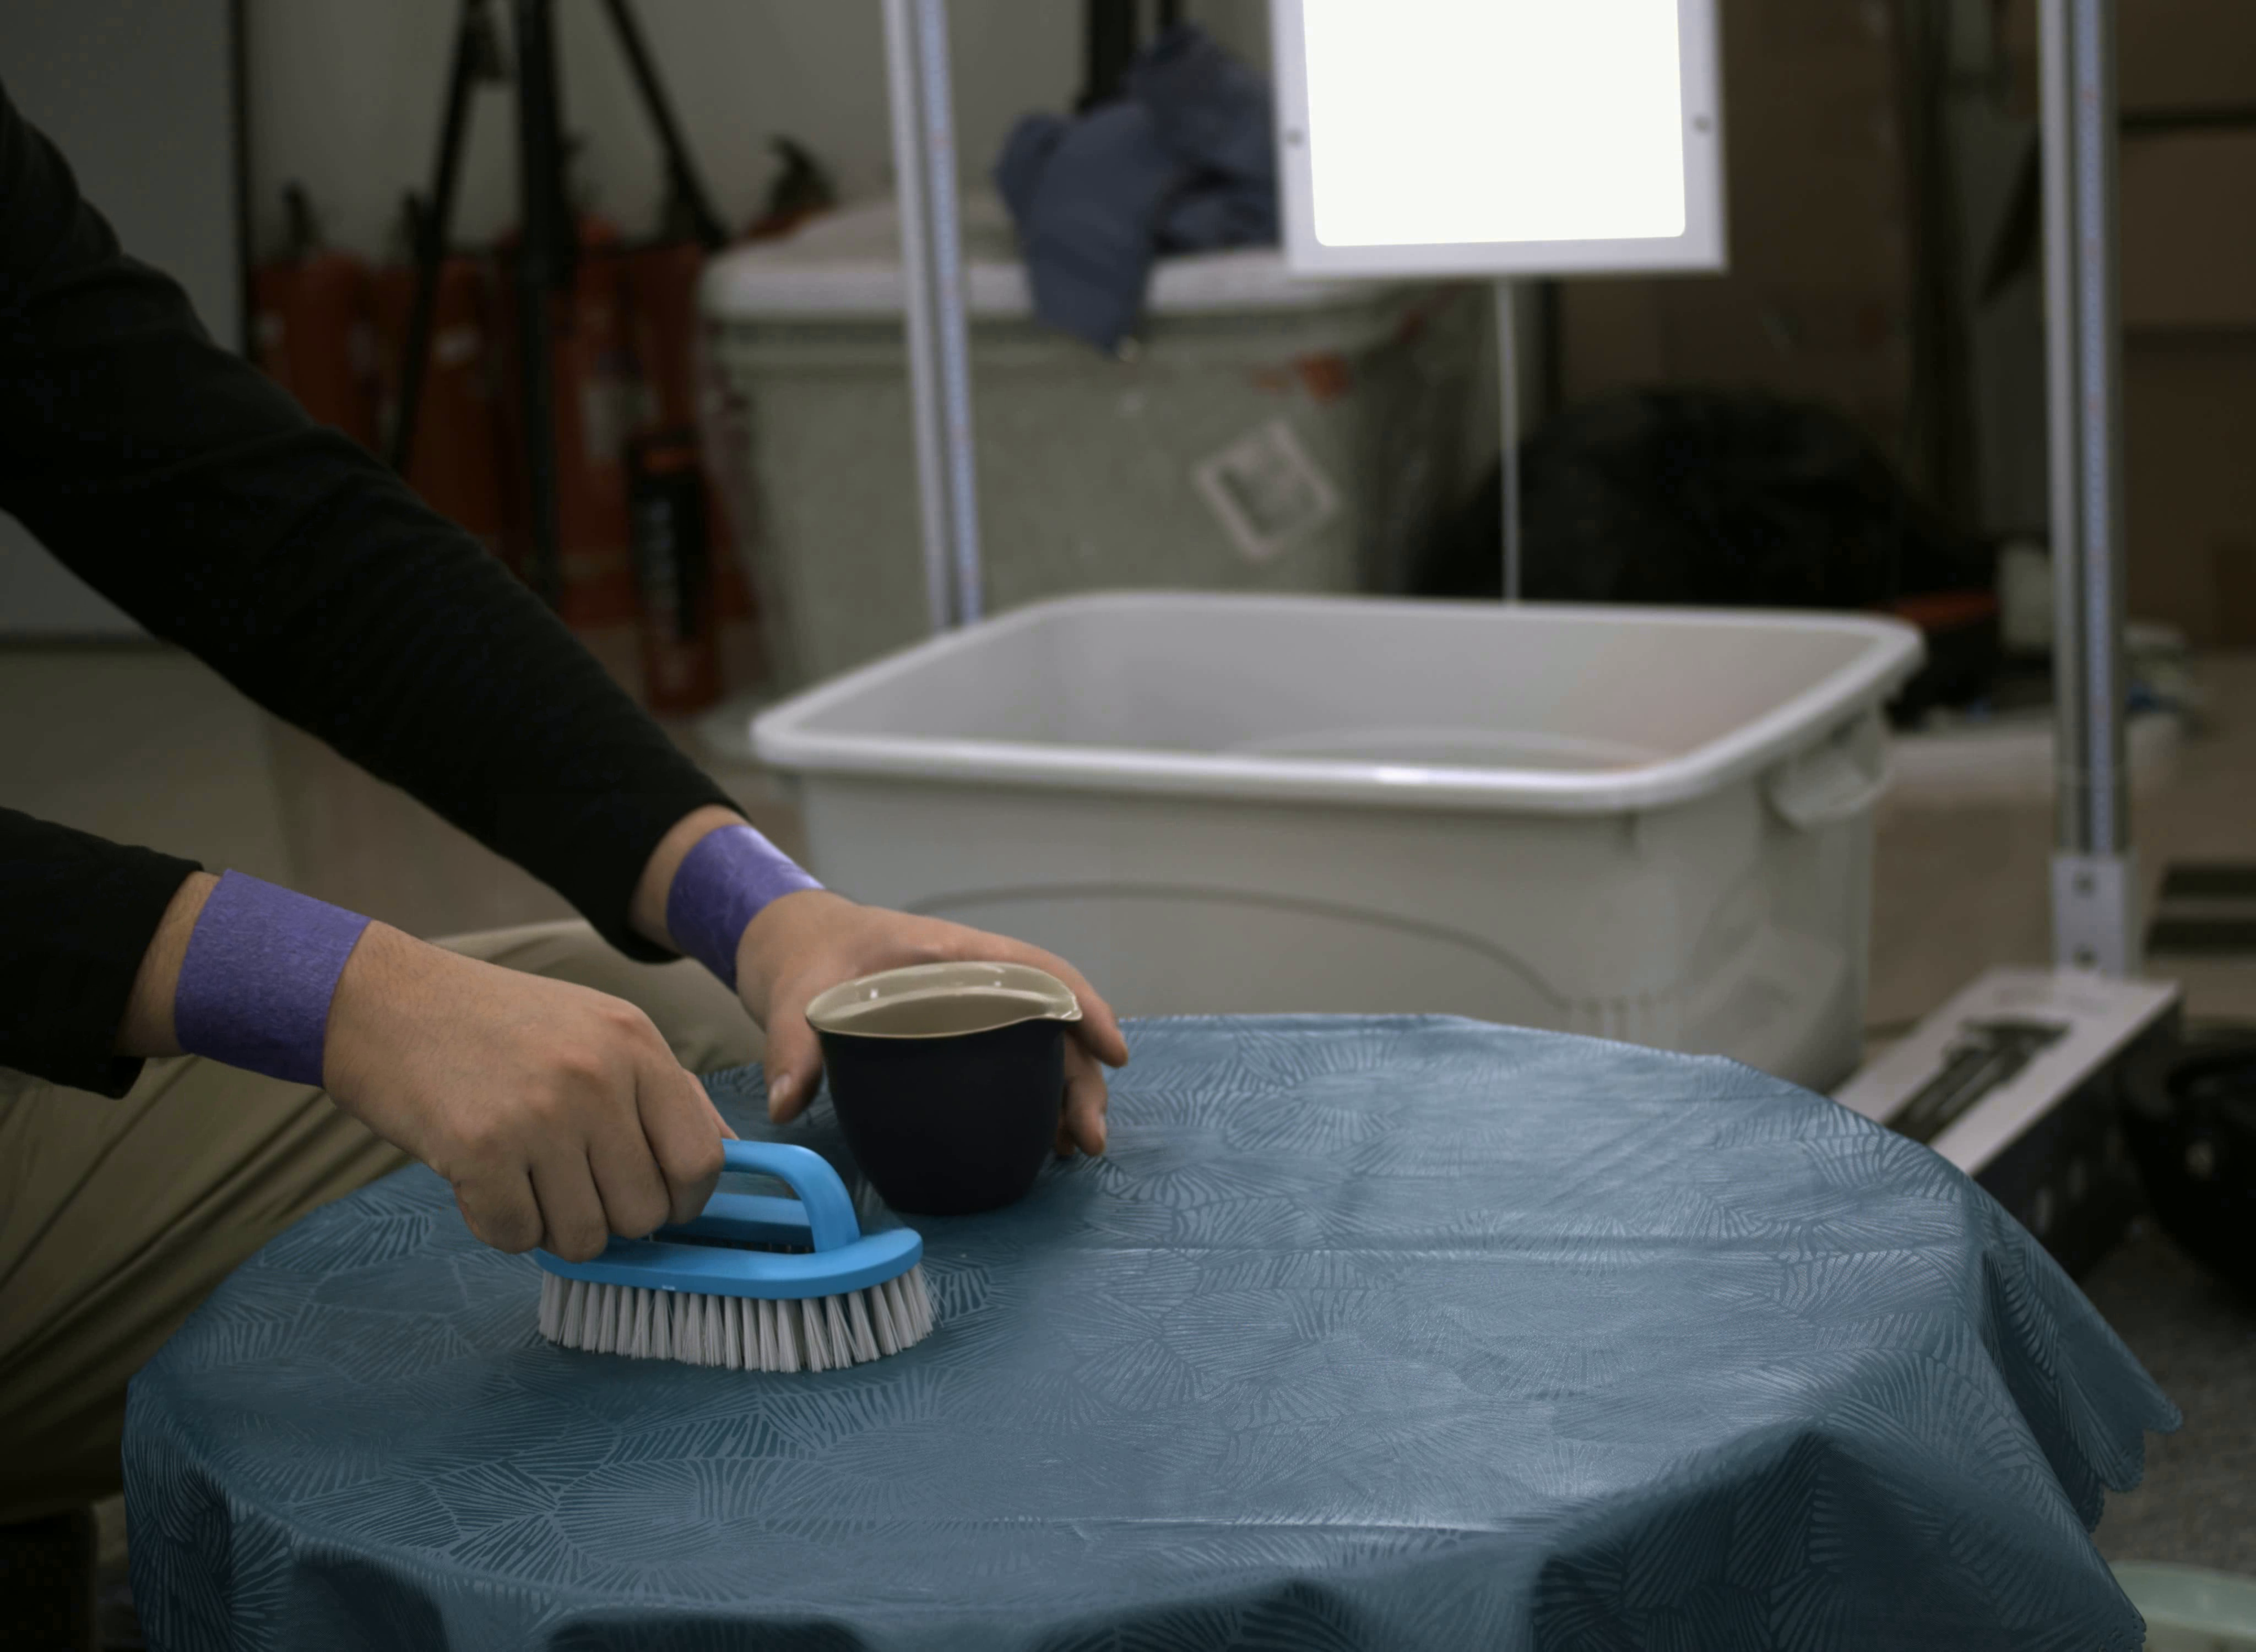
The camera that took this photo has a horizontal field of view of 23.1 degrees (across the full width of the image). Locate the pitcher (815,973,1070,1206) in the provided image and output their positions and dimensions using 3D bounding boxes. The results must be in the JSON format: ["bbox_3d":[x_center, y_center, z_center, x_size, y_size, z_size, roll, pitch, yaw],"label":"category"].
[{"bbox_3d":[-0.060,0.091,1.905,0.098,0.071,0.081,7,17,35],"label":"pitcher"}]

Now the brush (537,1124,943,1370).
[{"bbox_3d":[-0.131,0.130,1.791,0.144,0.064,0.082,2,20,31],"label":"brush"}]
